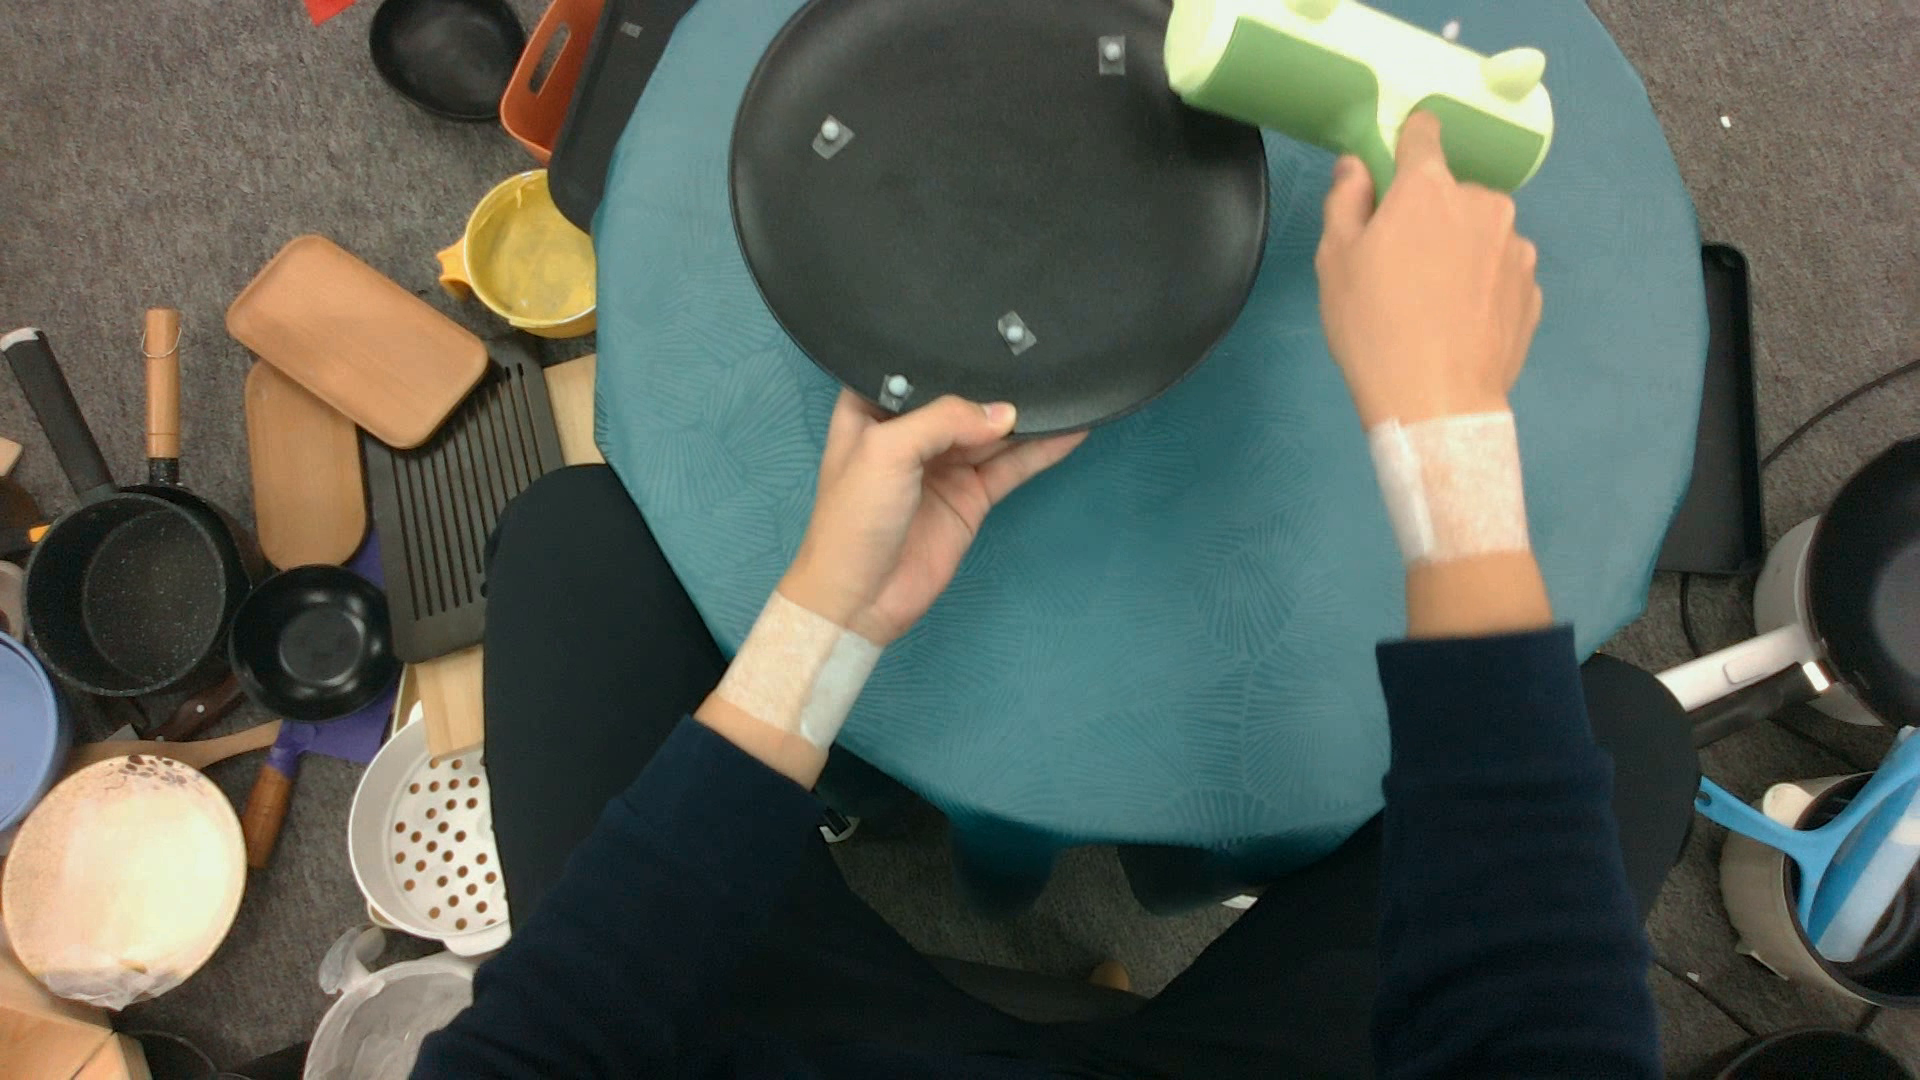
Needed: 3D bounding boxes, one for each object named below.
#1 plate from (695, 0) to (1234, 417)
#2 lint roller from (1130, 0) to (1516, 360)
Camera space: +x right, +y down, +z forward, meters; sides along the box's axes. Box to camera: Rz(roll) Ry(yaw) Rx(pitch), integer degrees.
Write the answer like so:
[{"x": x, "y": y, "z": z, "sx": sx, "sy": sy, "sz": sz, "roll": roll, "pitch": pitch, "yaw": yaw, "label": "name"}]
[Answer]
[{"x": 0.003, "y": -0.171, "z": 0.627, "sx": 0.244, "sy": 0.023, "sz": 0.245, "roll": 1, "pitch": 78, "yaw": -6, "label": "plate"}, {"x": 0.184, "y": -0.166, "z": 0.595, "sx": 0.199, "sy": 0.082, "sz": 0.184, "roll": 6, "pitch": 48, "yaw": -26, "label": "lint roller"}]
